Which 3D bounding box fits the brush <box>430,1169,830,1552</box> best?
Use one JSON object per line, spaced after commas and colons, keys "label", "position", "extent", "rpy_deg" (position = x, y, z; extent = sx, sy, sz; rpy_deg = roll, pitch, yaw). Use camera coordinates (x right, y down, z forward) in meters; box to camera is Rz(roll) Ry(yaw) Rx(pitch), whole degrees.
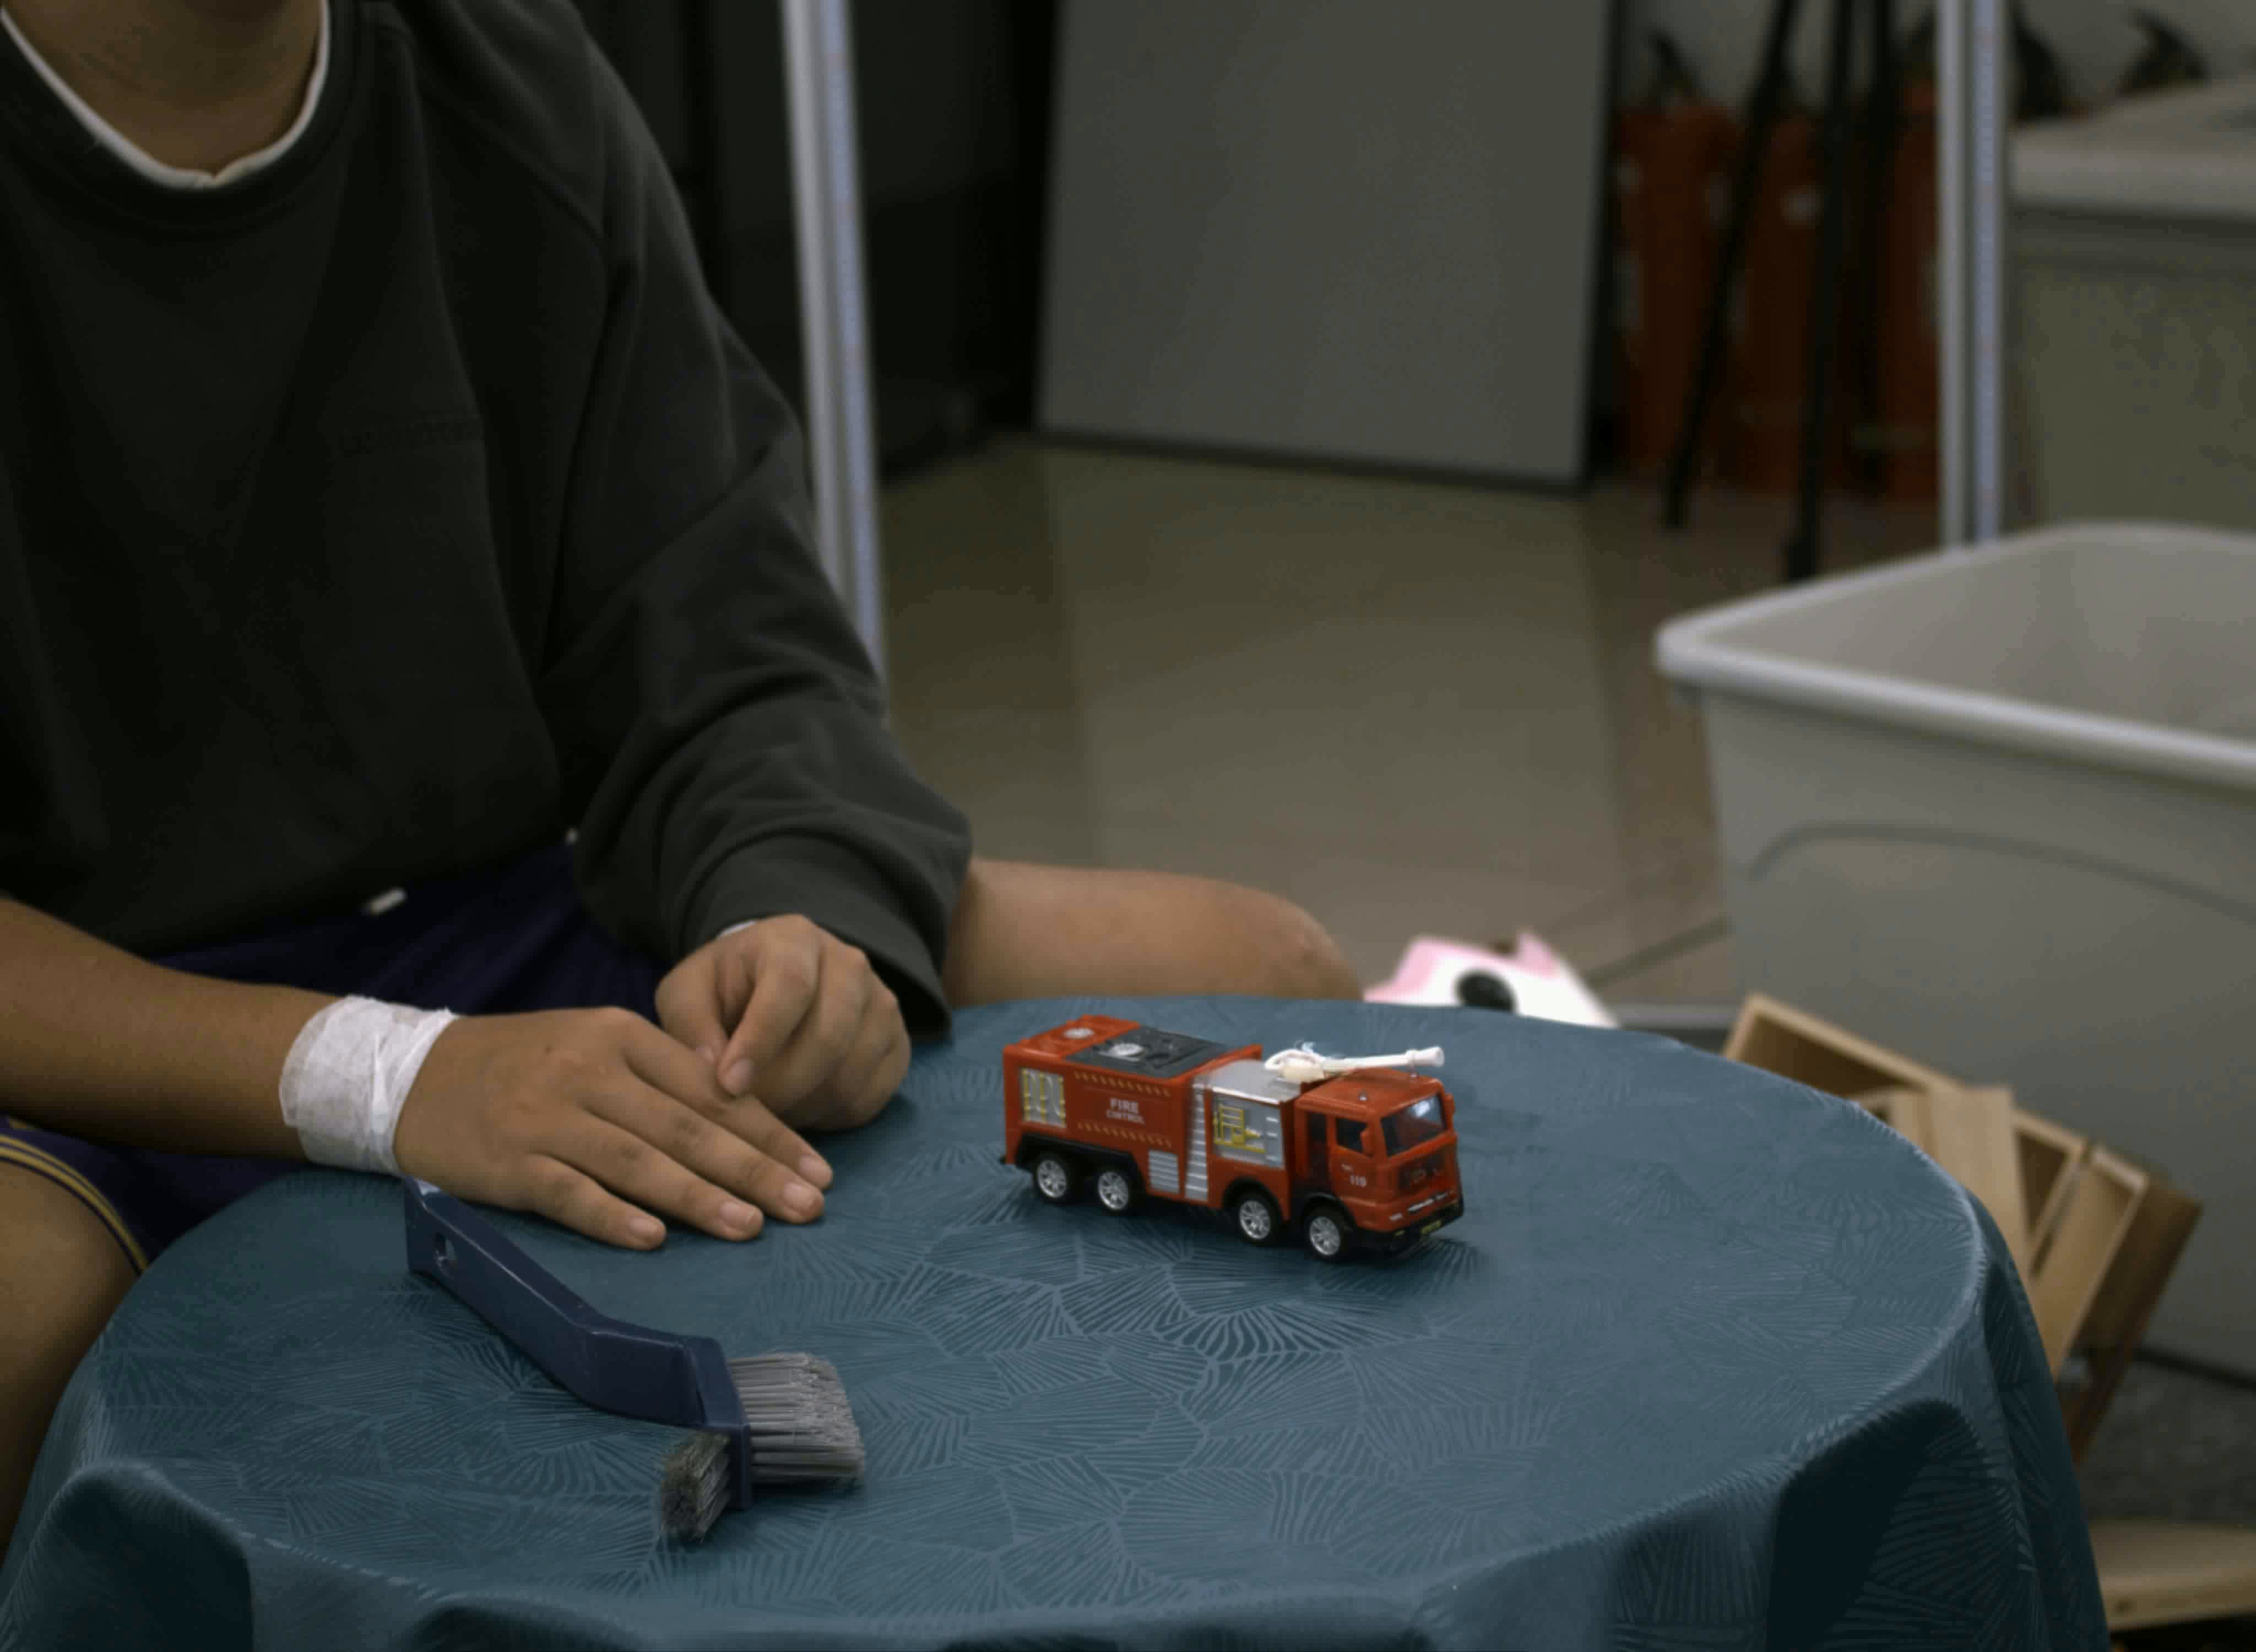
{"label": "brush", "position": [-0.170, 0.155, 1.613], "extent": [0.093, 0.034, 0.276], "rpy_deg": [-13, 17, -31]}

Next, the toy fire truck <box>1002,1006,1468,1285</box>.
{"label": "toy fire truck", "position": [0.034, 0.098, 1.728], "extent": [0.169, 0.071, 0.053], "rpy_deg": [7, 17, 40]}
